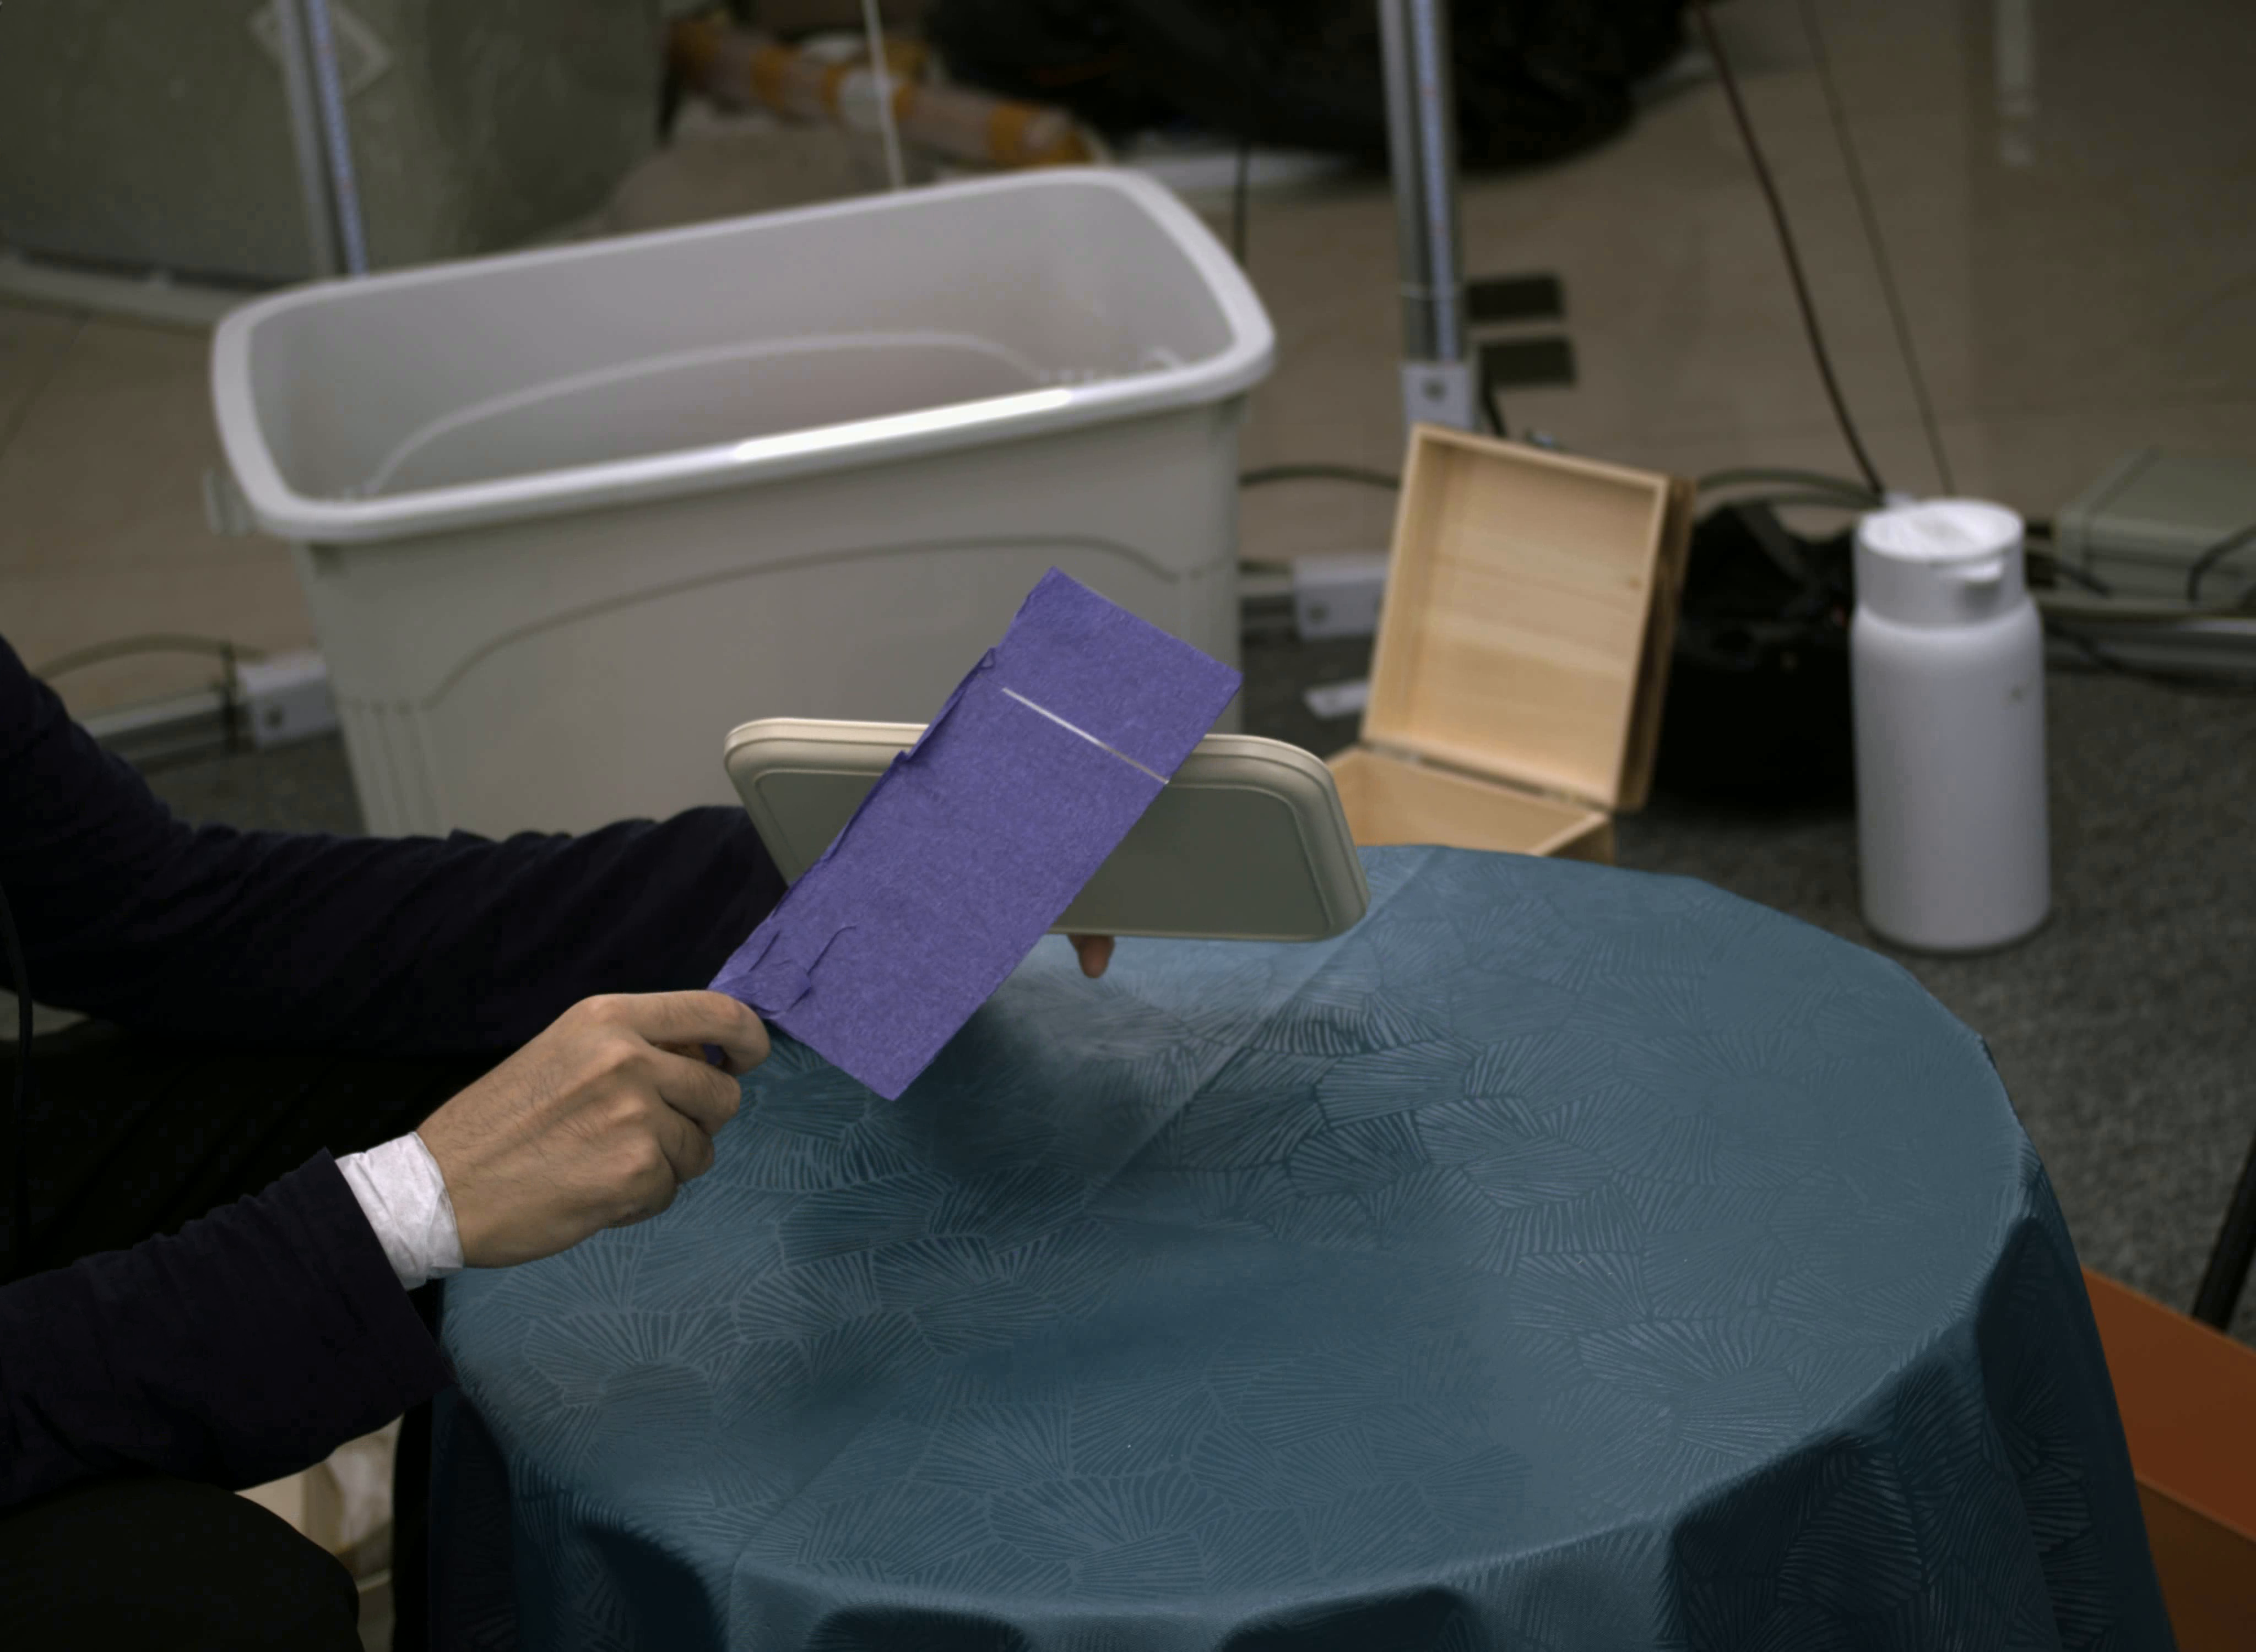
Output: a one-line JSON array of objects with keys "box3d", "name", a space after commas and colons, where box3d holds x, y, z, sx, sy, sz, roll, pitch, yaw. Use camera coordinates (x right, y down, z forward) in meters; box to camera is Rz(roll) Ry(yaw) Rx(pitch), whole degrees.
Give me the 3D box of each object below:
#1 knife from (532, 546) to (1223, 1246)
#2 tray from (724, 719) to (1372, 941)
[{"box3d": [-0.086, 0.036, 2.044, 0.103, 0.032, 0.313, 32, 77, 26], "name": "knife"}, {"box3d": [-0.030, 0.005, 2.200, 0.239, 0.173, 0.017, 2, 66, 12], "name": "tray"}]
